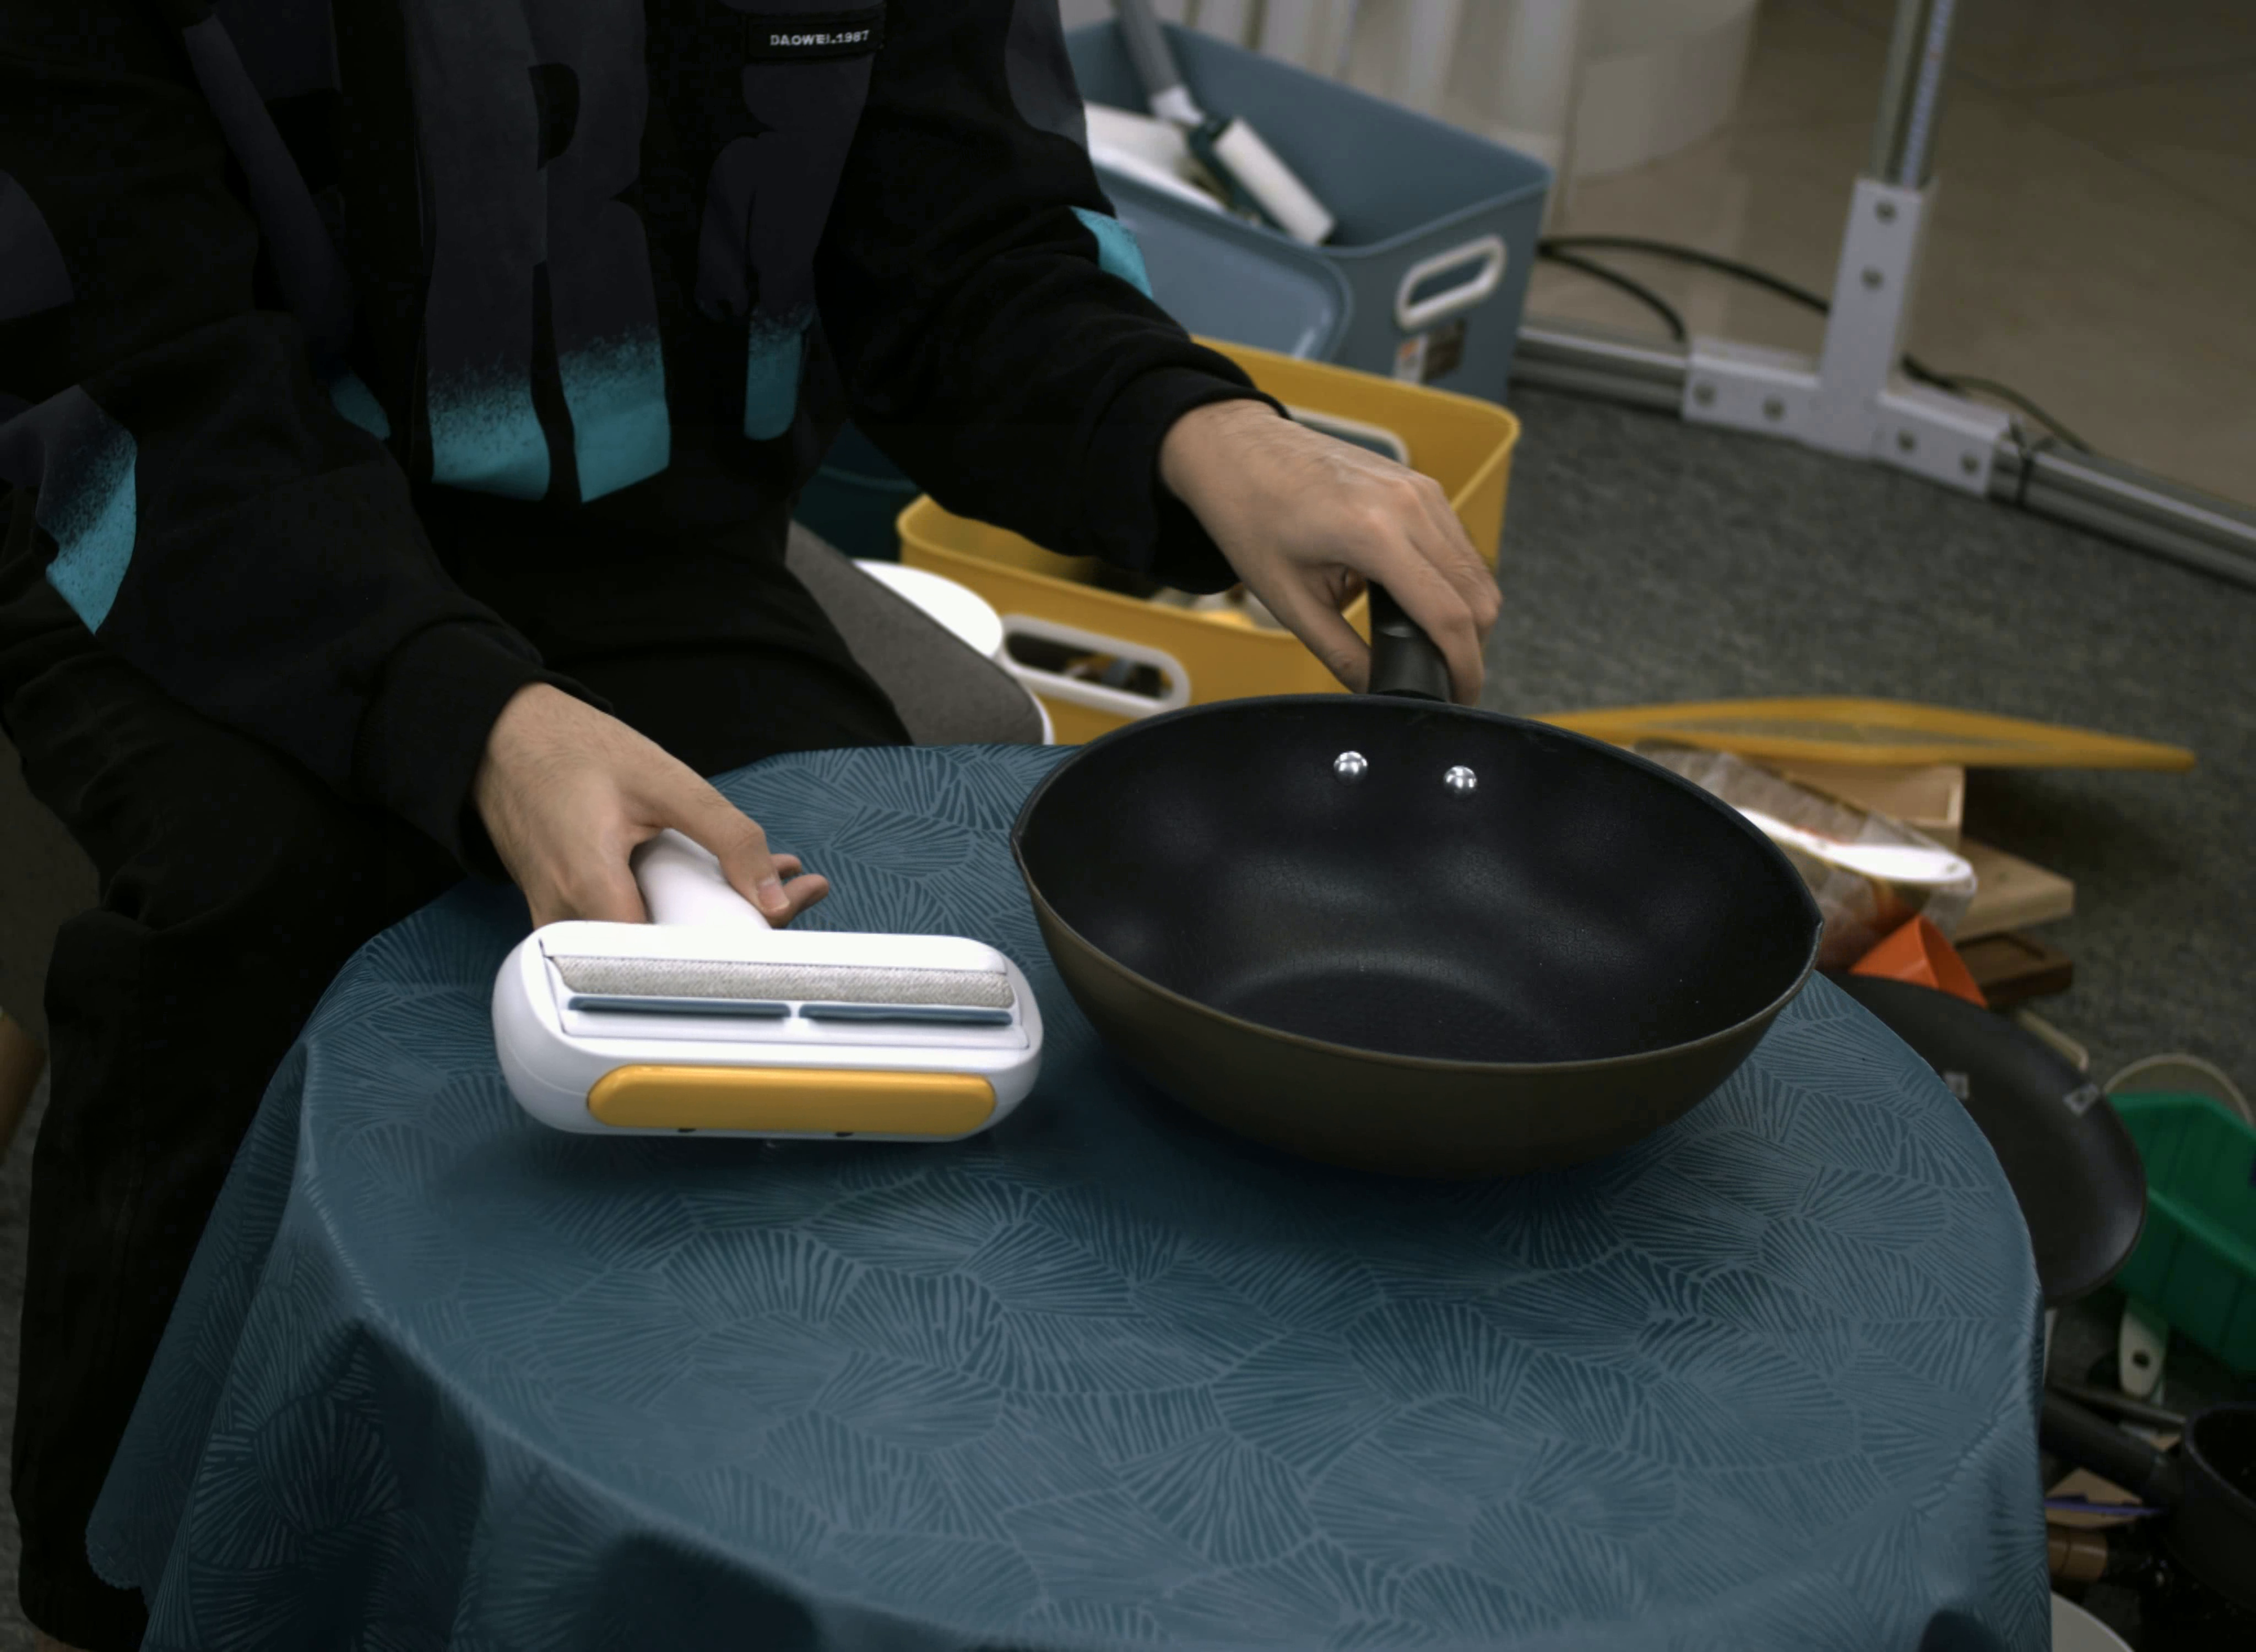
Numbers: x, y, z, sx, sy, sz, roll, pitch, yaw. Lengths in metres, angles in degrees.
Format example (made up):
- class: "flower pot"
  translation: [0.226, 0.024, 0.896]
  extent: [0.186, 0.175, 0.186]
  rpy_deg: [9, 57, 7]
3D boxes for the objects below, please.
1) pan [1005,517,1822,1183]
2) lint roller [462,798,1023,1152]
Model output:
- class: "pan"
  translation: [0.098, 0.010, 1.954]
  extent: [0.287, 0.086, 0.466]
  rpy_deg: [6, 26, -1]
- class: "lint roller"
  translation: [-0.145, 0.039, 1.834]
  extent: [0.191, 0.074, 0.194]
  rpy_deg: [2, 38, -20]
